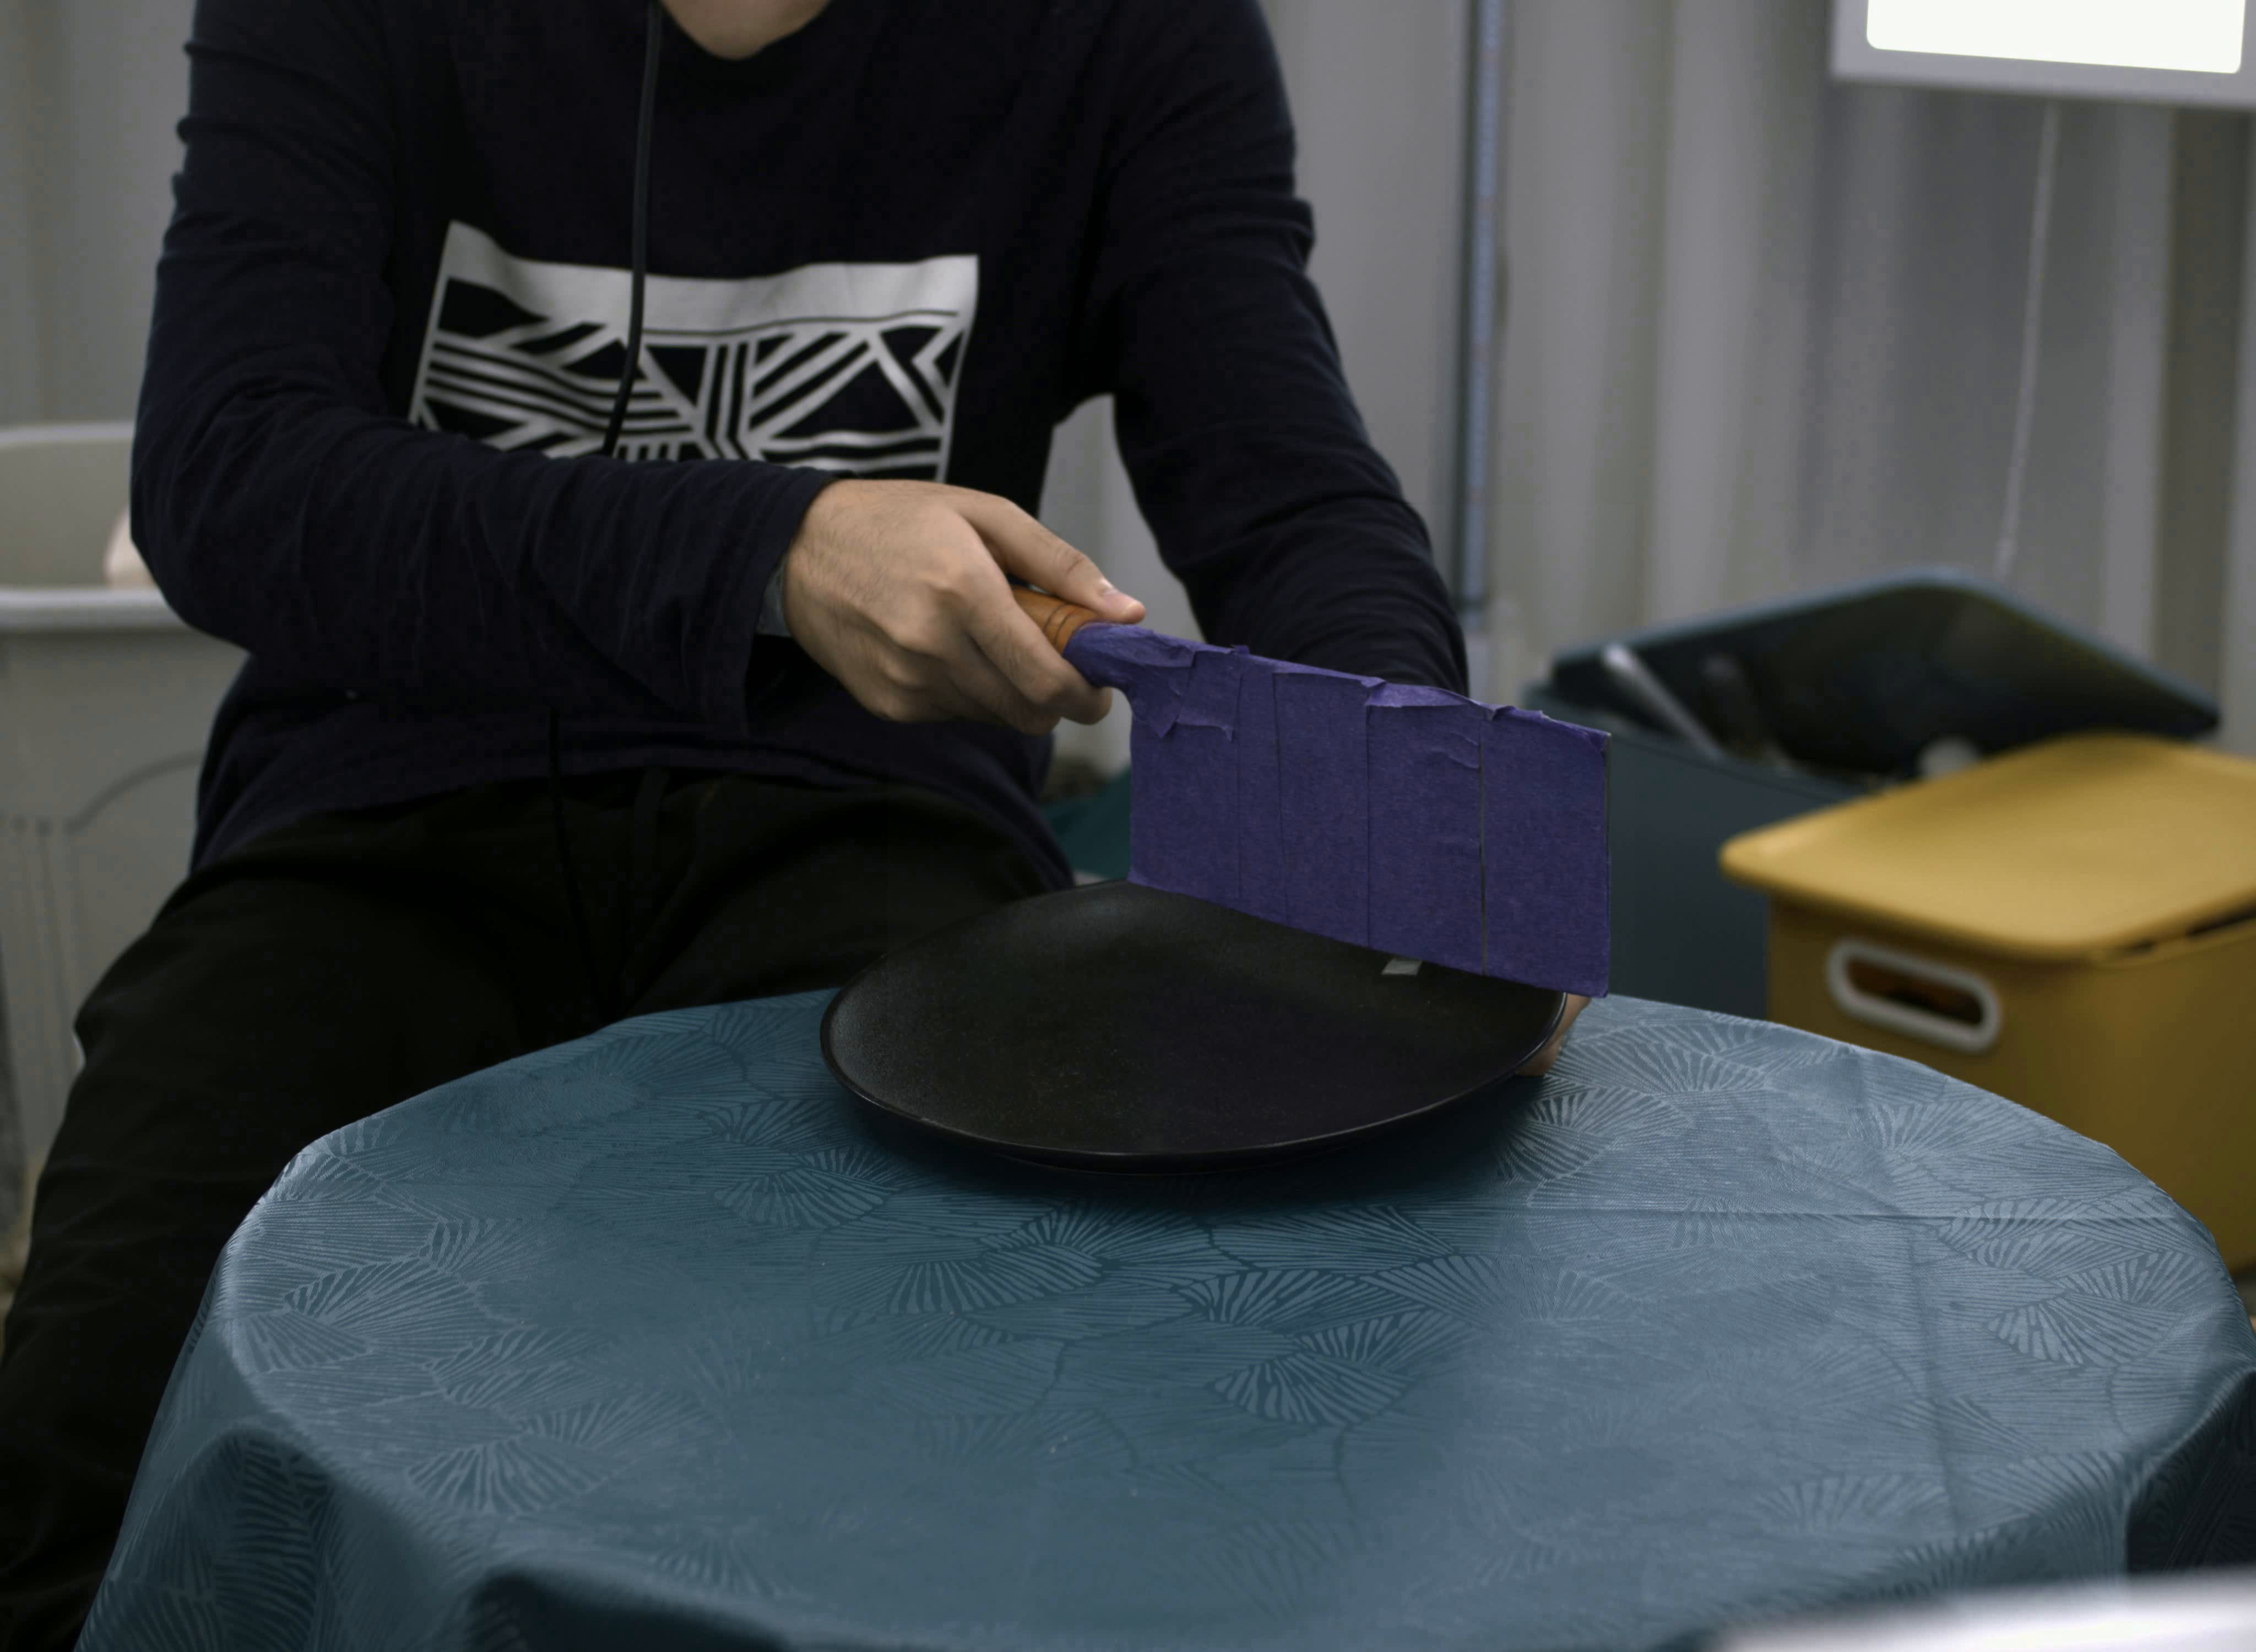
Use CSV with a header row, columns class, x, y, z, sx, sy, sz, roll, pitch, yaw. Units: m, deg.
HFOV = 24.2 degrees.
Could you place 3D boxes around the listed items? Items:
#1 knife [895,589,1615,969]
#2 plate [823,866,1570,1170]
class,x,y,z,sx,sy,sz,roll,pitch,yaw
knife,0.037,-0.015,1.751,0.032,0.104,0.311,-14,20,-43
plate,0.022,0.064,1.712,0.243,0.023,0.243,-6,21,3
